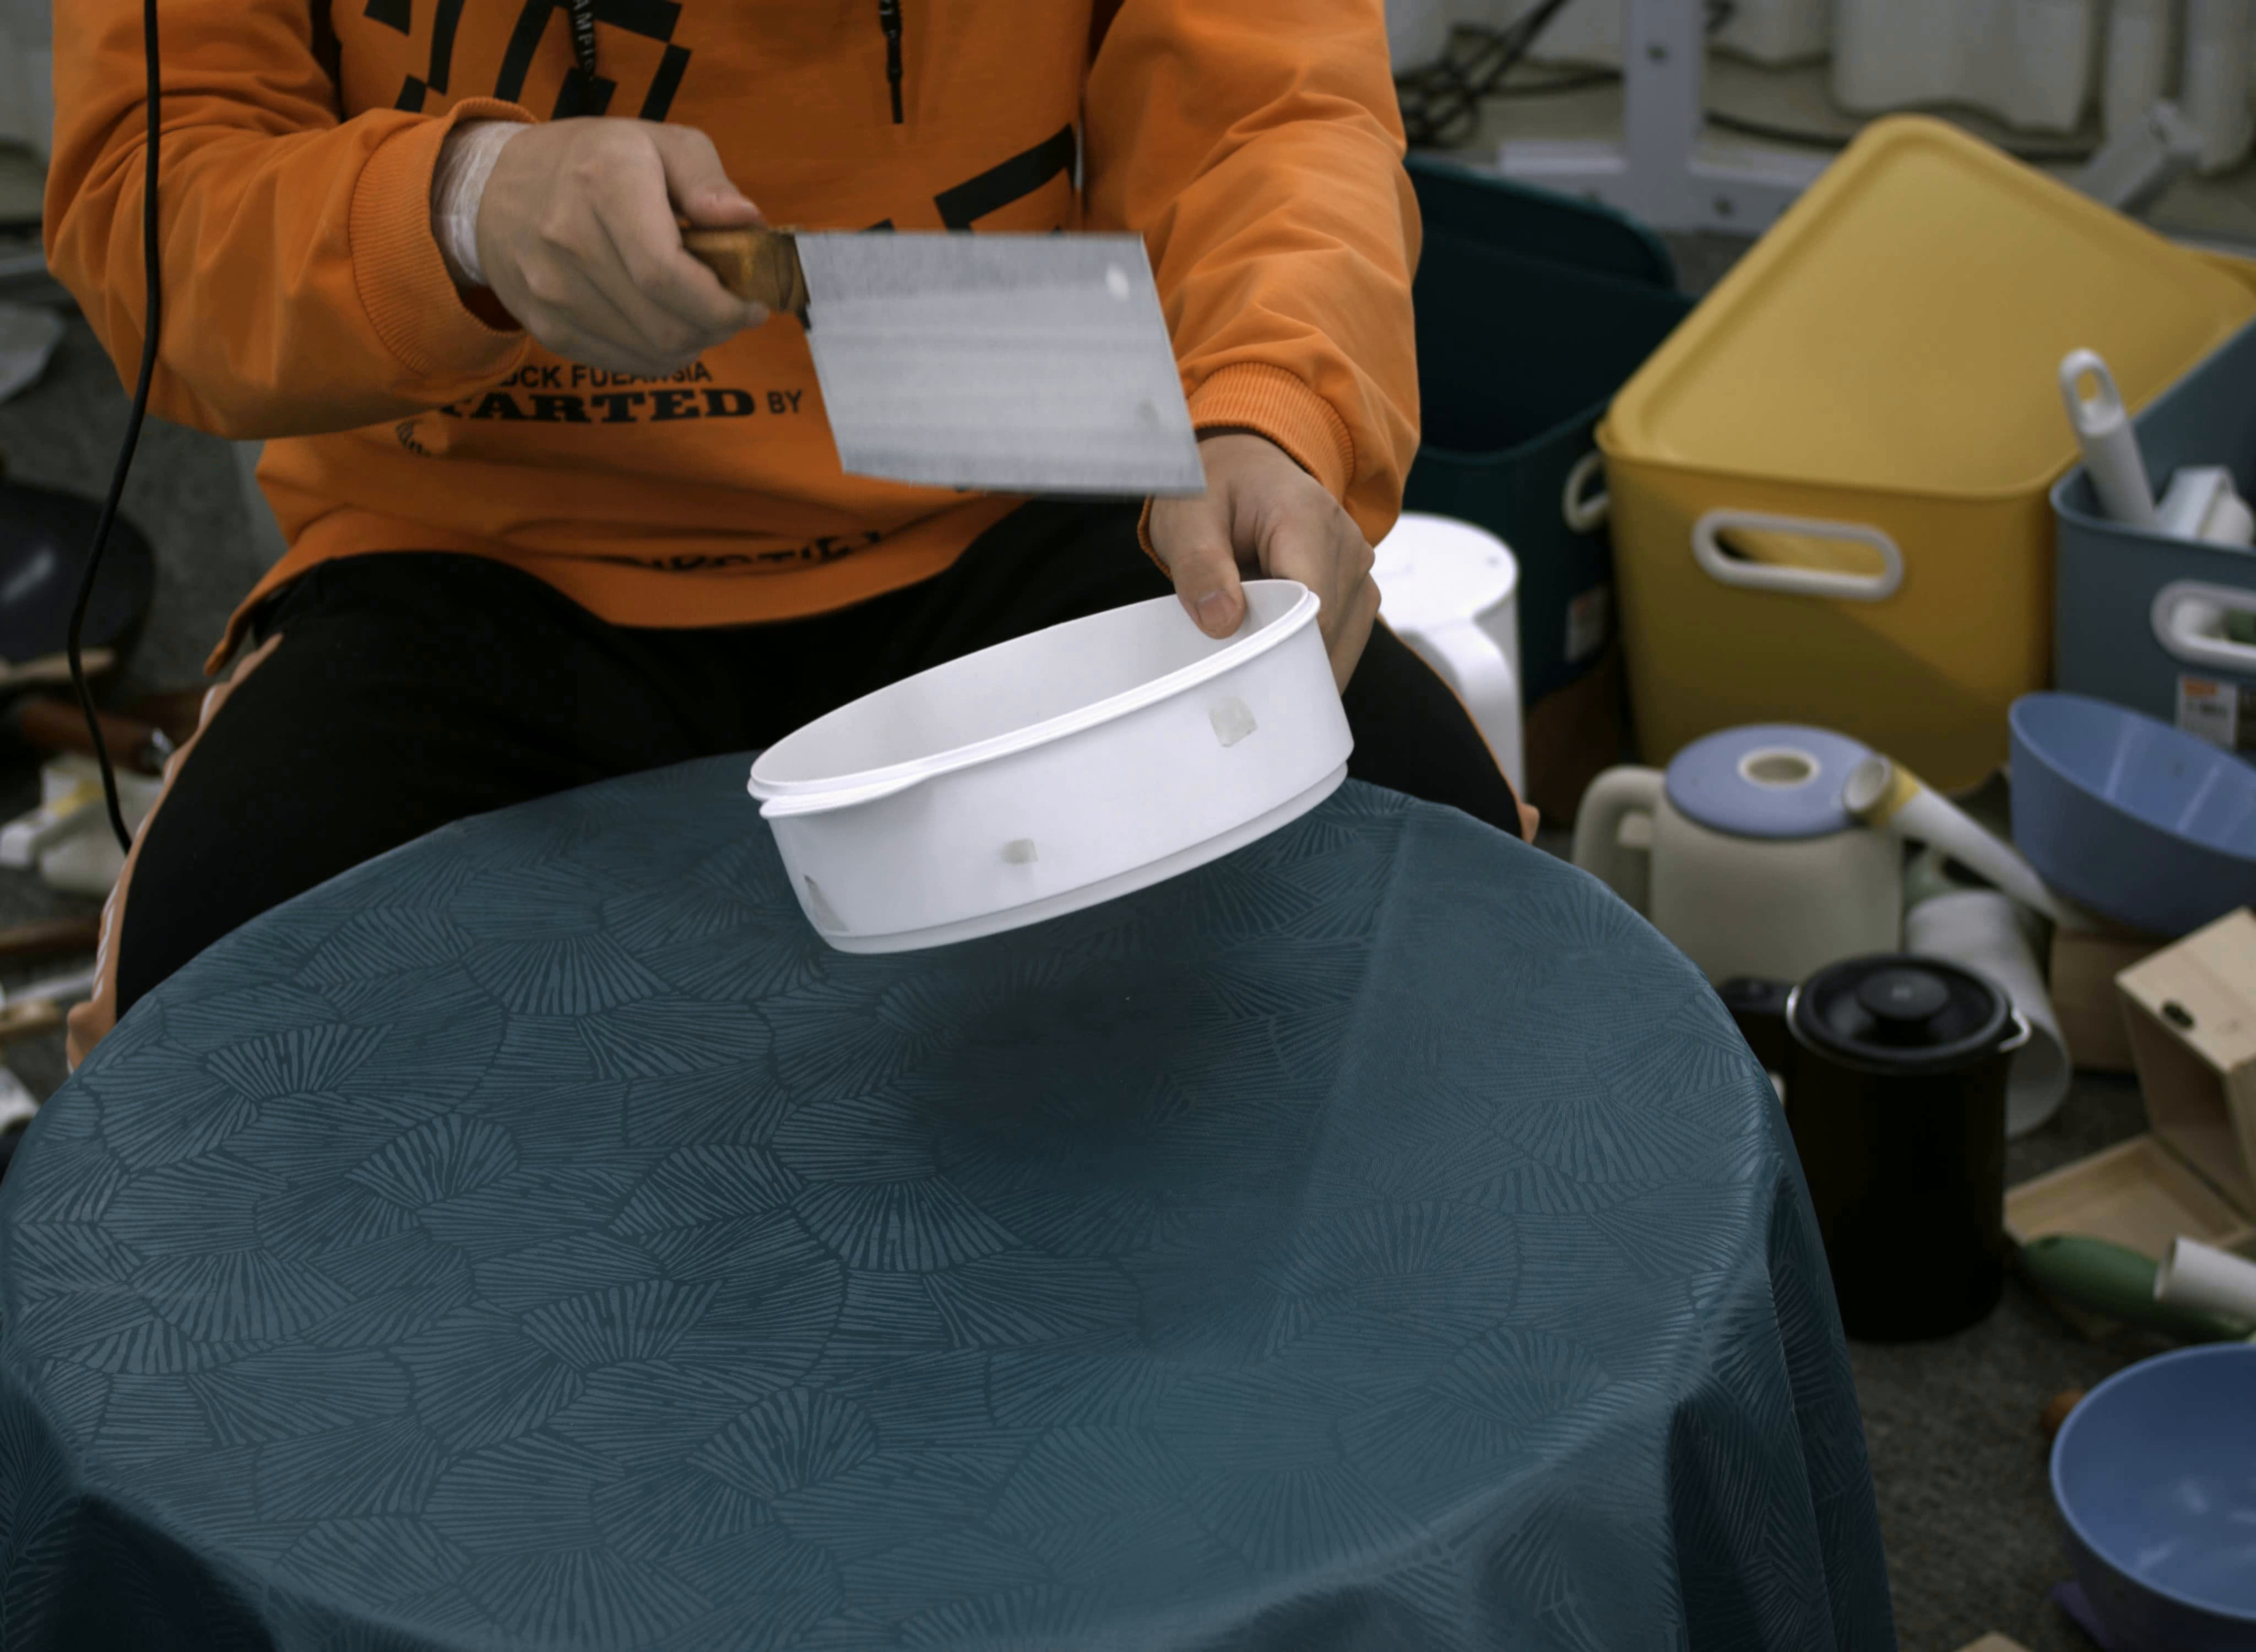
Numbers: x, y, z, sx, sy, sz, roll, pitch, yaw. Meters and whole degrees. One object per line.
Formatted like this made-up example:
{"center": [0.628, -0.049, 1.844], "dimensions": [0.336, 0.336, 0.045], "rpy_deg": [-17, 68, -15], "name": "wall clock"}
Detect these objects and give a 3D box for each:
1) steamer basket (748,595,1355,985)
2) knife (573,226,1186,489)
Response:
{"center": [-0.023, -0.011, 1.872], "dimensions": [0.199, 0.069, 0.234], "rpy_deg": [-6, 18, 41], "name": "steamer basket"}
{"center": [-0.086, -0.158, 1.917], "dimensions": [0.021, 0.092, 0.304], "rpy_deg": [-29, 24, -35], "name": "knife"}
